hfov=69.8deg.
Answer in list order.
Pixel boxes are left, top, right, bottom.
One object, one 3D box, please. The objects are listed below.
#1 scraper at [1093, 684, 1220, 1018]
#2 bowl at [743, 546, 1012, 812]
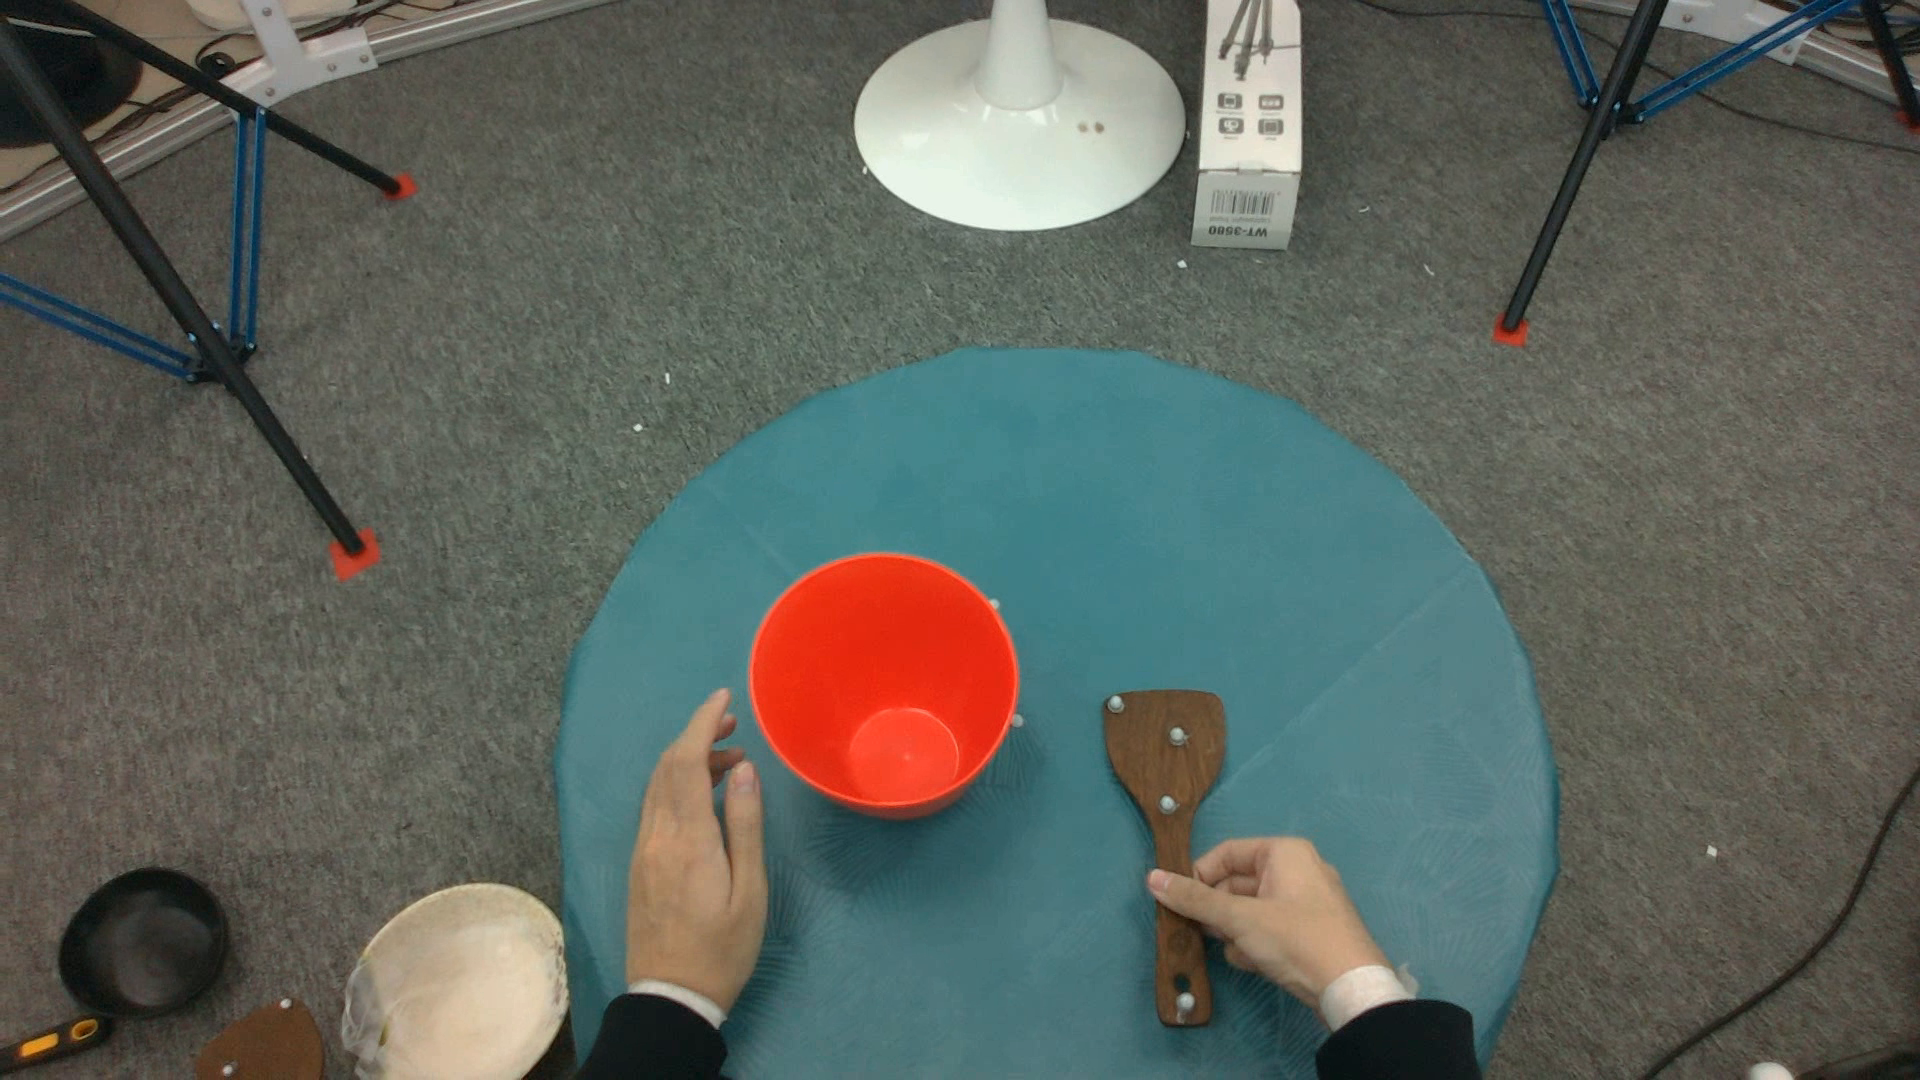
[{"bbox_3d":[0.114,0.167,0.772,0.076,0.011,0.212,0,45,4],"label":"scraper"},{"bbox_3d":[-0.045,0.092,0.787,0.148,0.104,0.148,1,55,-1],"label":"bowl"}]
